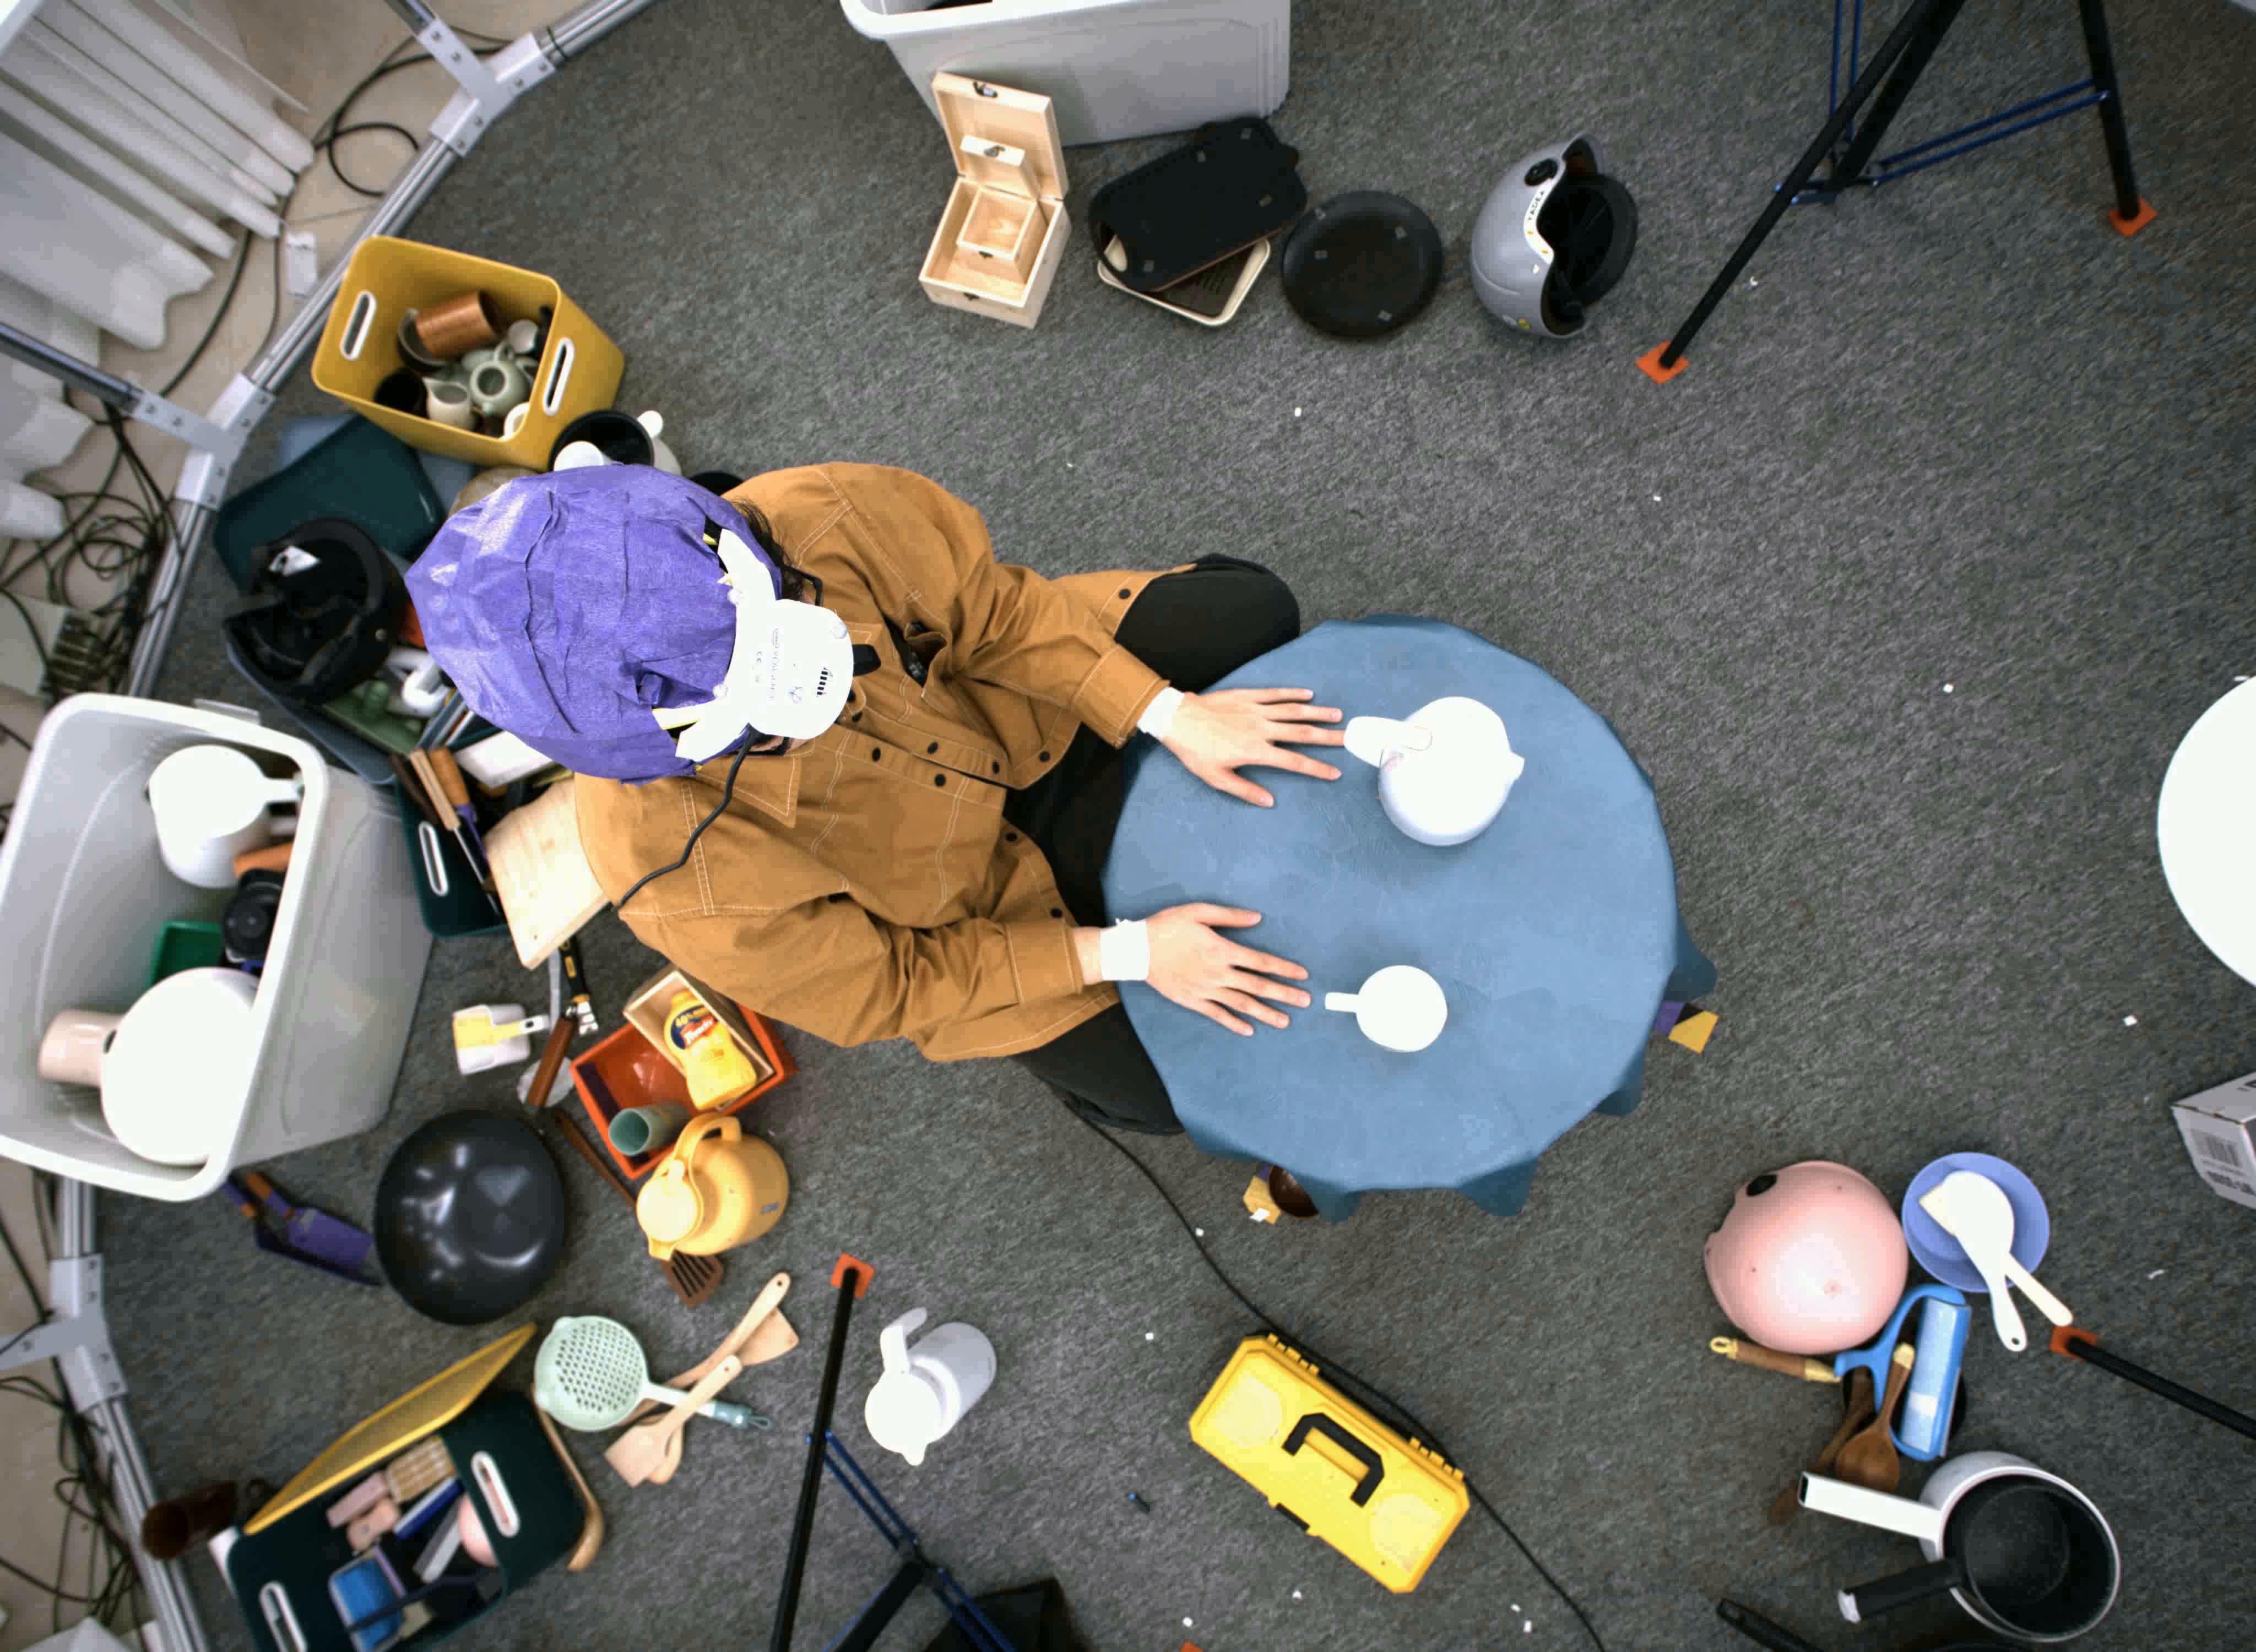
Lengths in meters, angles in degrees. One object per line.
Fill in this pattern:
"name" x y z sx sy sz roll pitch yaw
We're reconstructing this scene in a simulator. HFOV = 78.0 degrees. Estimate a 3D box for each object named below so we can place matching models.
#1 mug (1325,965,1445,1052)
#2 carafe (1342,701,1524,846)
"mug" 0.260 0.183 1.406 0.118 0.102 0.084 4 85 11
"carafe" 0.292 -0.062 1.338 0.168 0.248 0.132 16 89 12
